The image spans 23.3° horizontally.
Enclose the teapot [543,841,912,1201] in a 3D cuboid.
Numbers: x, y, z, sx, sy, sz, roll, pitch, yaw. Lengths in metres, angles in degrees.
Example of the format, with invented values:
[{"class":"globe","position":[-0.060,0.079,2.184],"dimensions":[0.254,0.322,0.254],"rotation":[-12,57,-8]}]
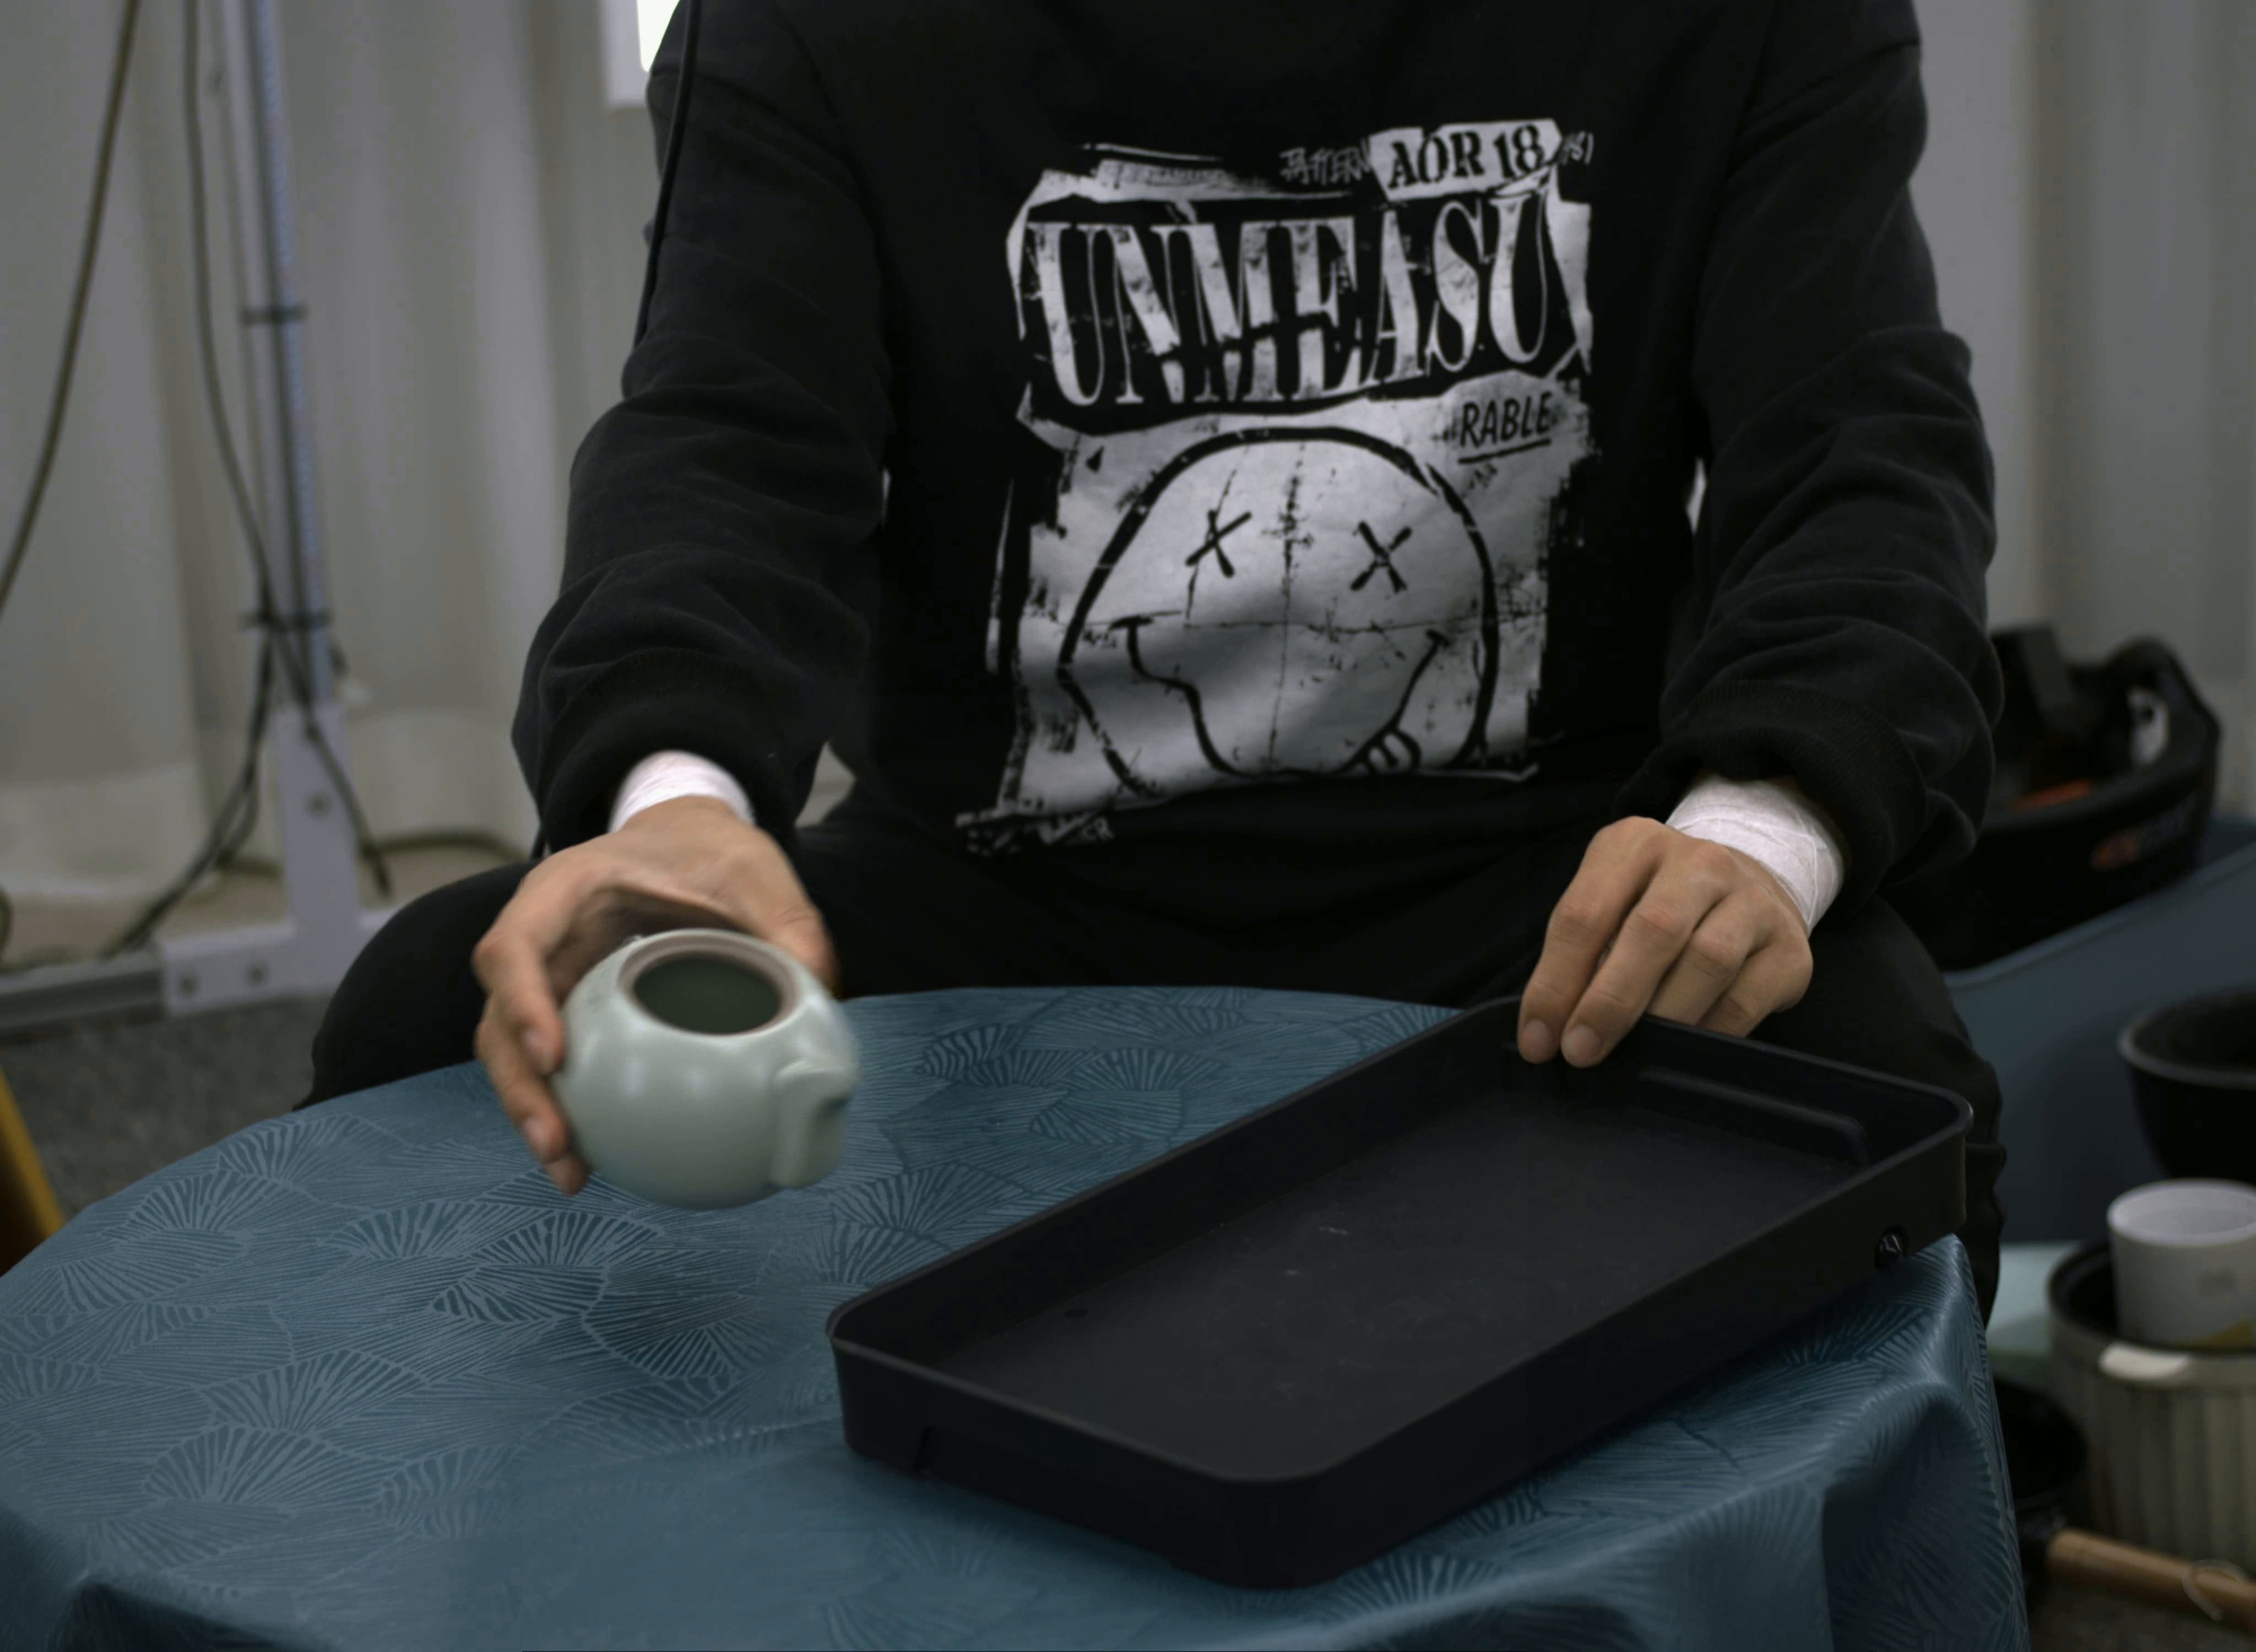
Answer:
[{"class":"teapot","position":[-0.120,0.067,1.595],"dimensions":[0.145,0.074,0.088],"rotation":[36,39,31]}]

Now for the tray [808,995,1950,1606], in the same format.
[{"class":"tray","position":[0.077,0.126,1.547],"dimensions":[0.185,0.037,0.318],"rotation":[12,25,40]}]
